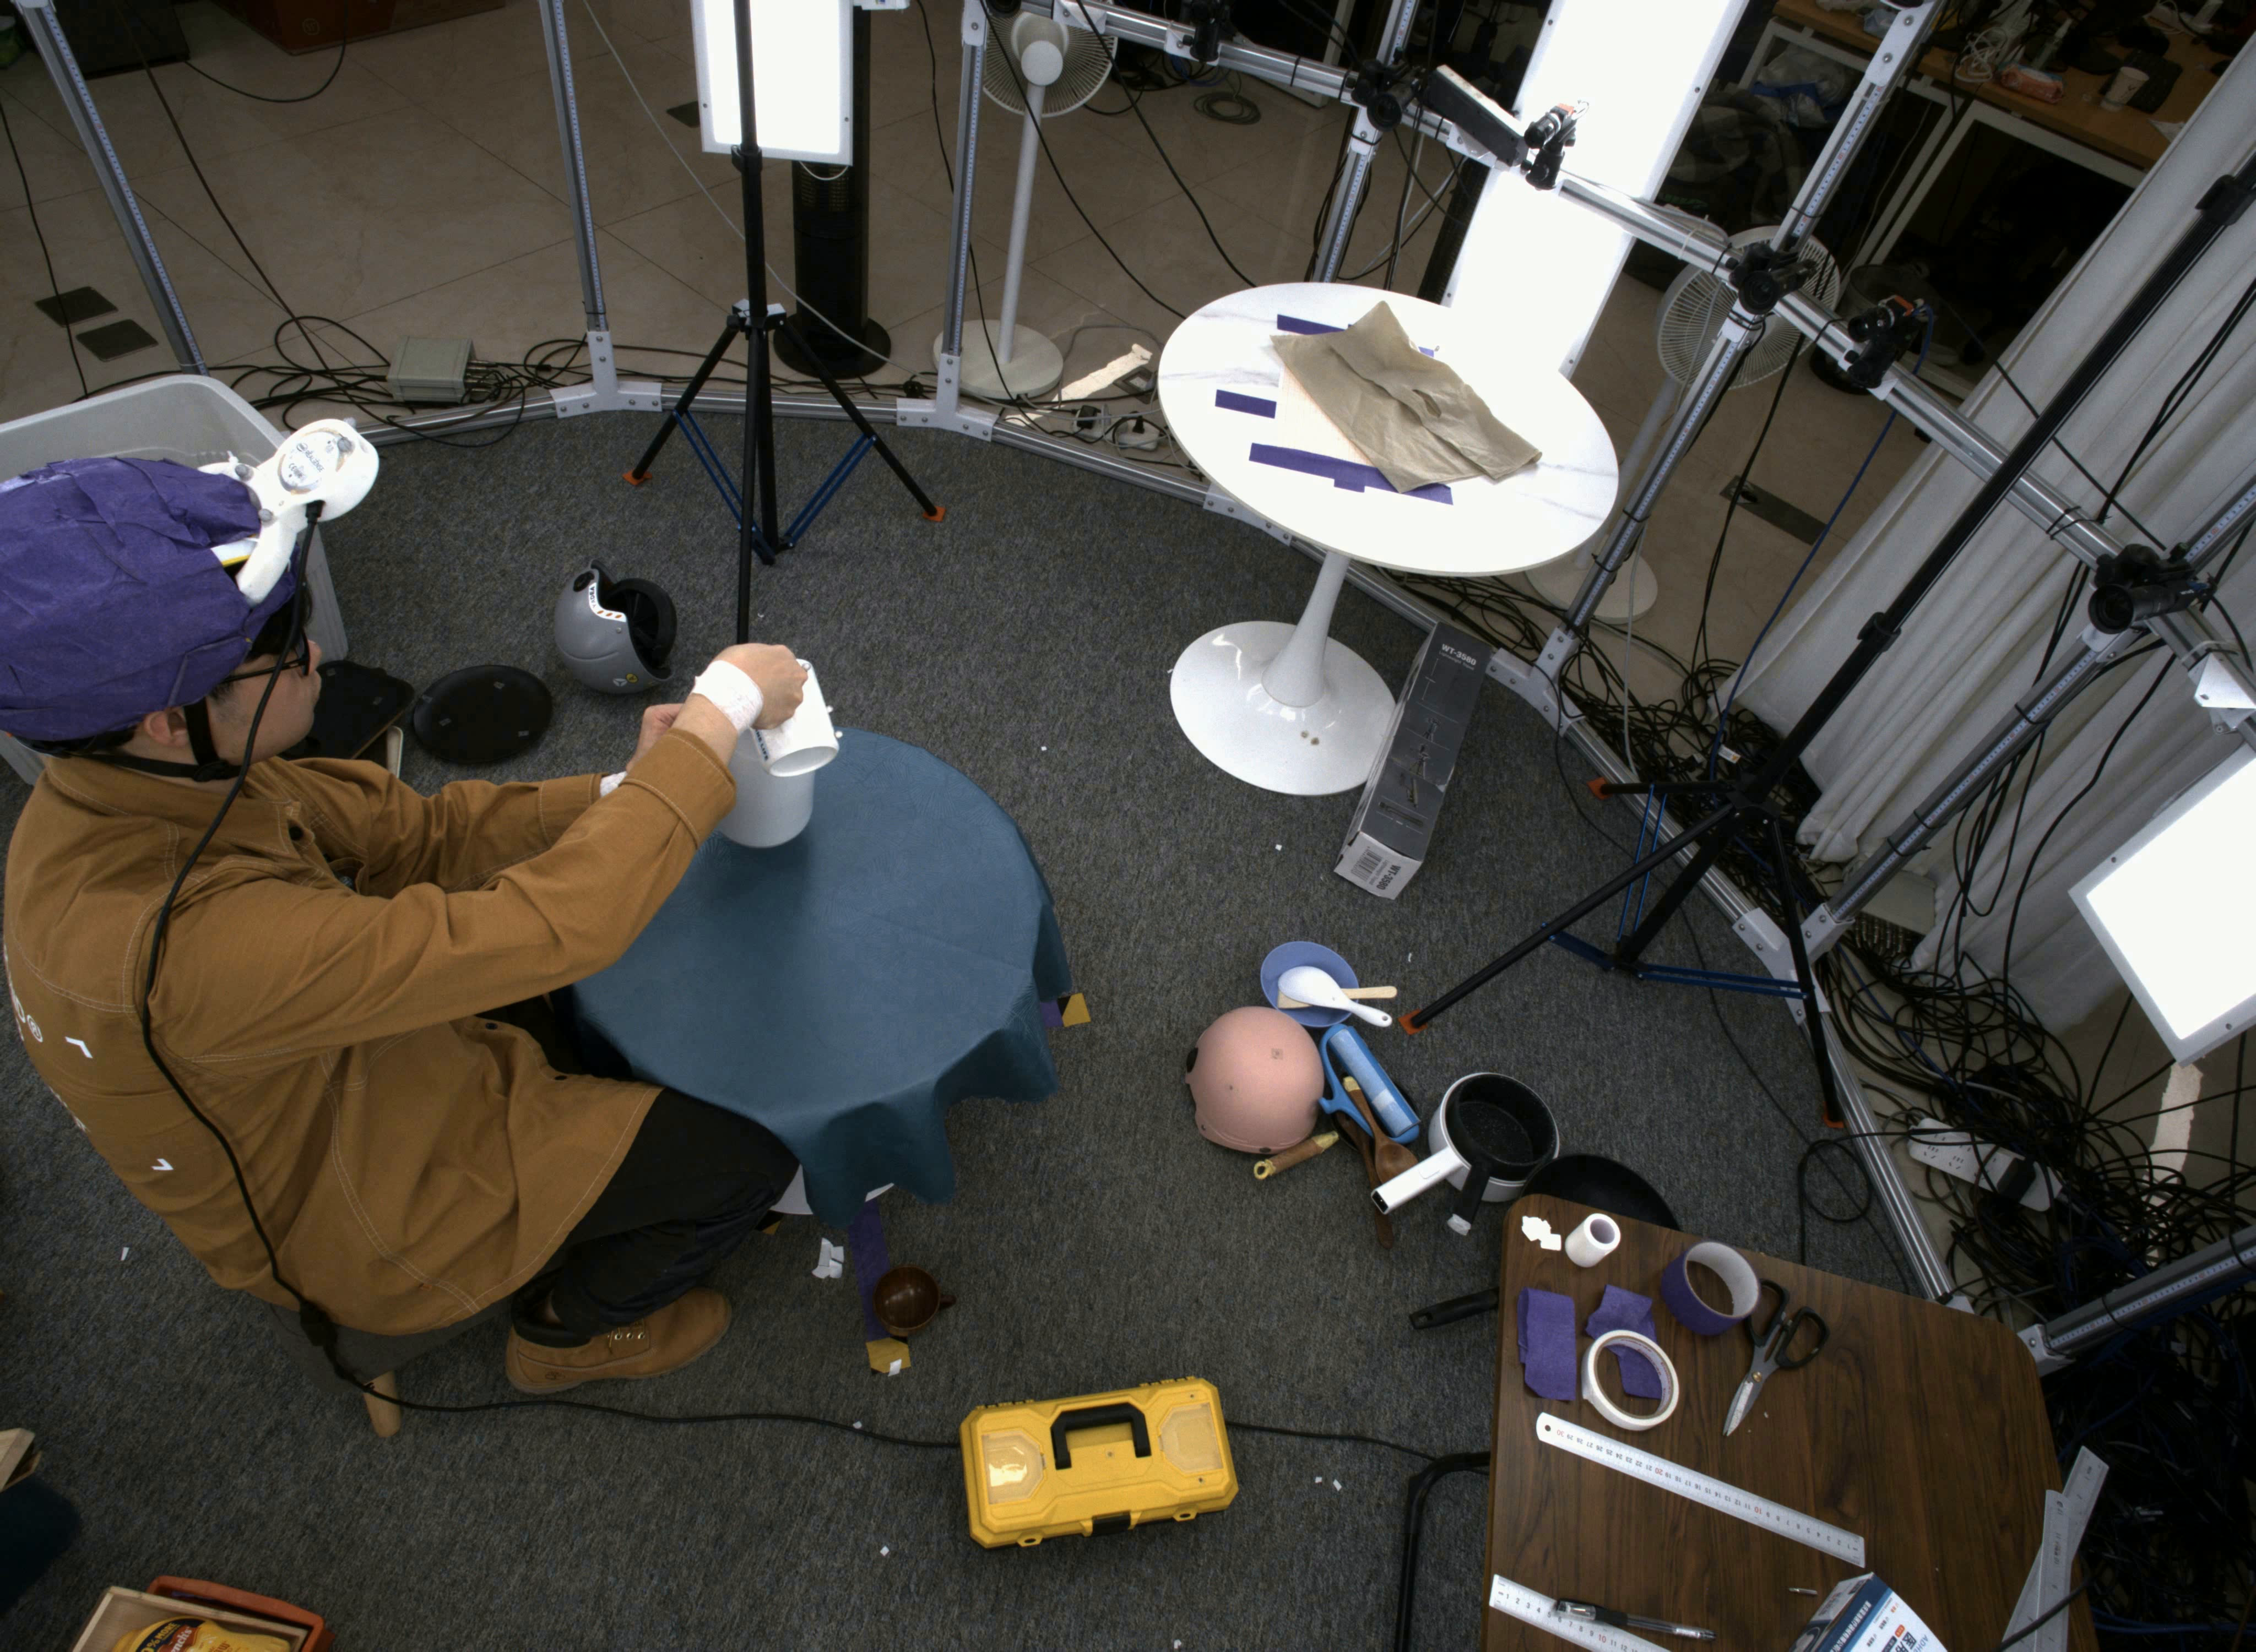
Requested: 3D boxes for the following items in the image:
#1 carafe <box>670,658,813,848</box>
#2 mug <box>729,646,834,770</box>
[{"bbox_3d":[-0.461,-0.090,1.546,0.168,0.251,0.130,-8,63,-20],"label":"carafe"},{"bbox_3d":[-0.364,-0.127,1.349,0.085,0.119,0.101,-20,78,-11],"label":"mug"}]
